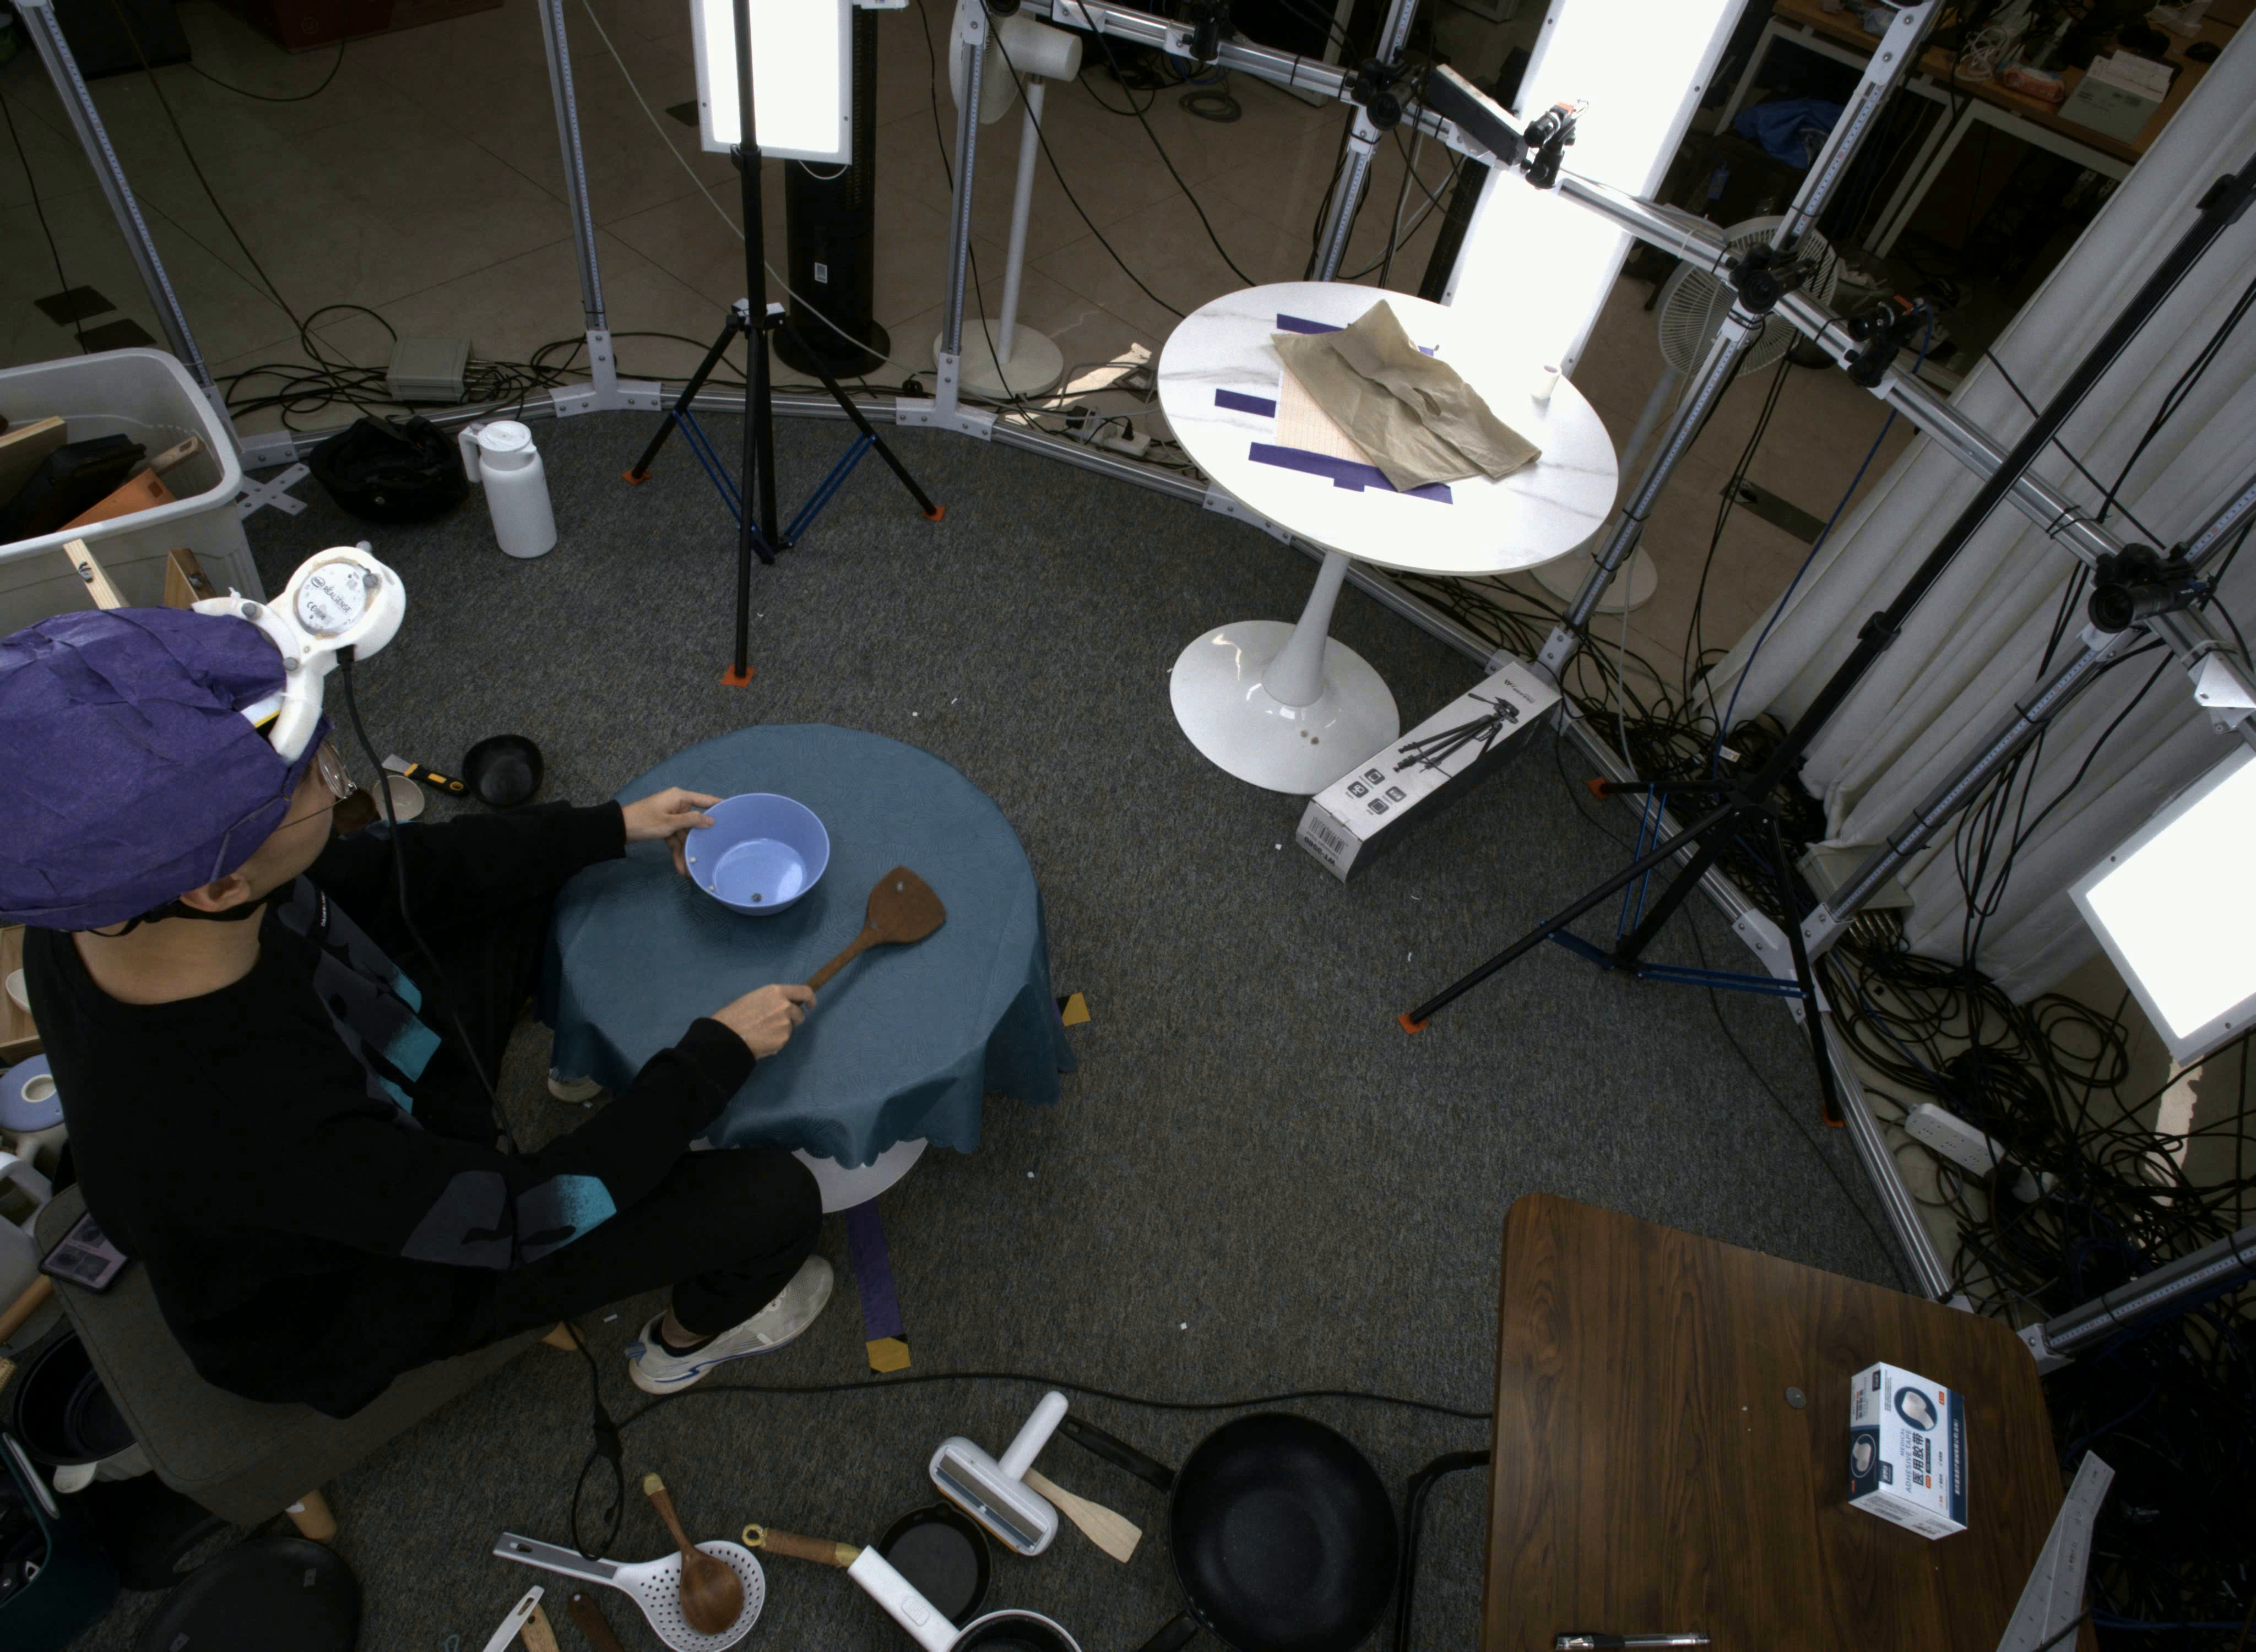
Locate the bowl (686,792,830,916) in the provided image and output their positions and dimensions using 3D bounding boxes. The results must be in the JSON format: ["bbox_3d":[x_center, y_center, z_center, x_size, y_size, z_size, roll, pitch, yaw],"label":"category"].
[{"bbox_3d":[-0.466,0.045,1.640,0.175,0.072,0.173,7,53,-8],"label":"bowl"}]

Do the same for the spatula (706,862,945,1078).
[{"bbox_3d":[-0.362,0.172,1.557,0.097,0.015,0.385,50,47,-5],"label":"spatula"}]
